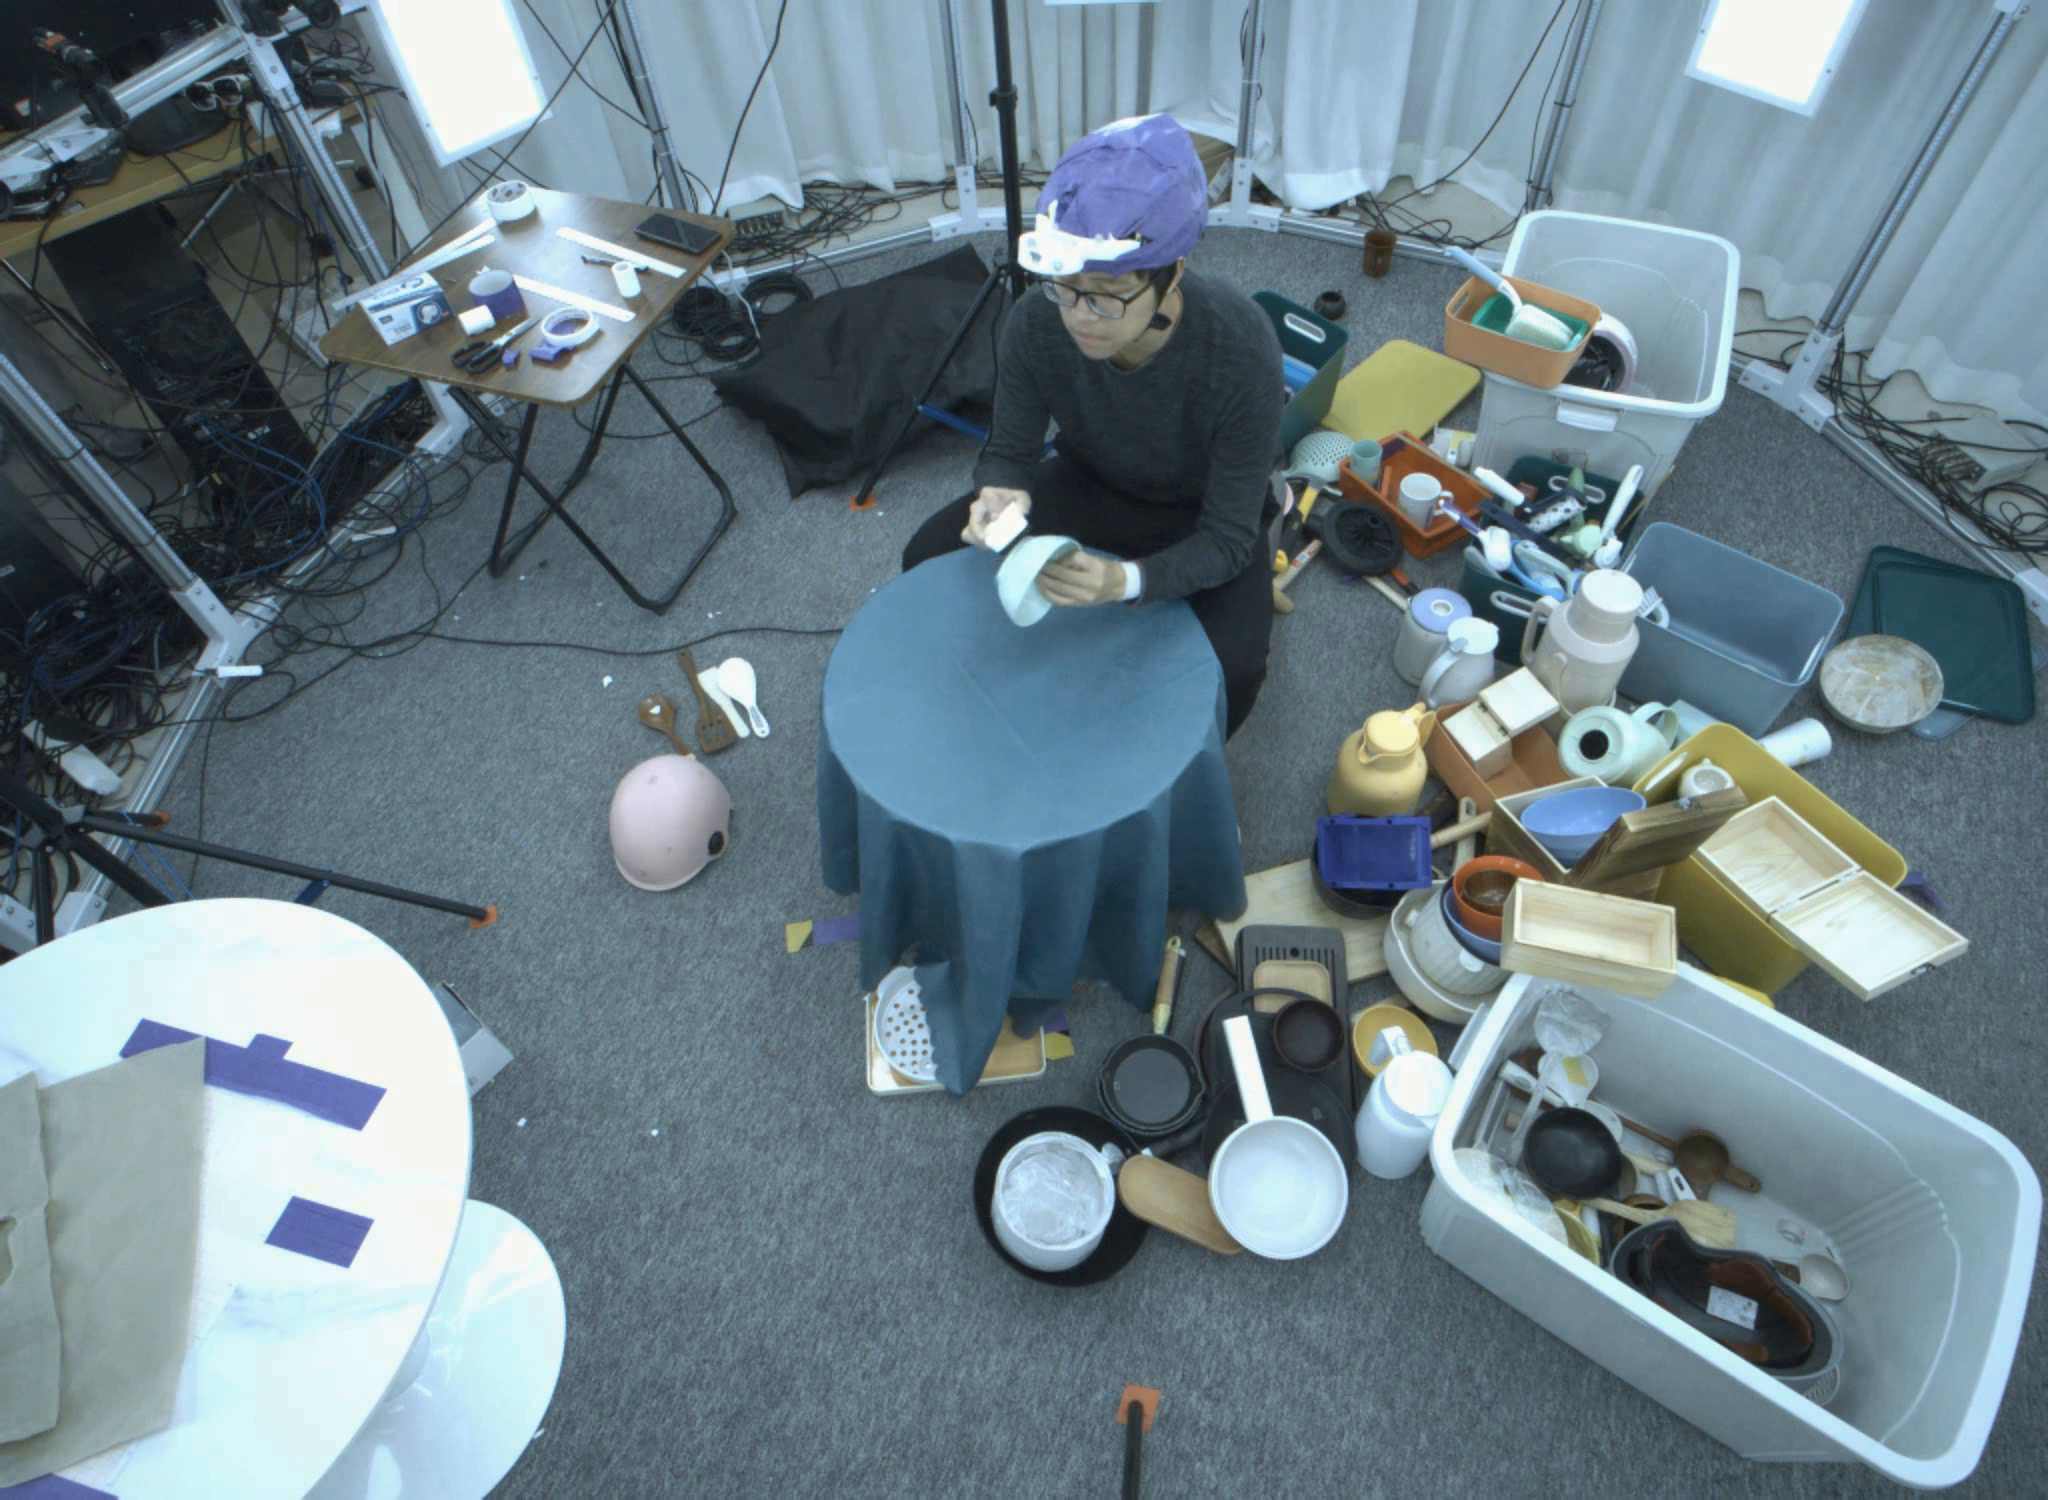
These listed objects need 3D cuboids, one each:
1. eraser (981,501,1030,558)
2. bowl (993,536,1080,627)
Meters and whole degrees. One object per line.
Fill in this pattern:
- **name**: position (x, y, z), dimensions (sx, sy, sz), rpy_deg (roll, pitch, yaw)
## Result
- **eraser**: position (-0.027, -0.309, 1.701), dimensions (0.063, 0.035, 0.129), rpy_deg (-42, 22, 11)
- **bowl**: position (0.009, -0.243, 1.693), dimensions (0.058, 0.152, 0.152), rpy_deg (36, 64, 15)
